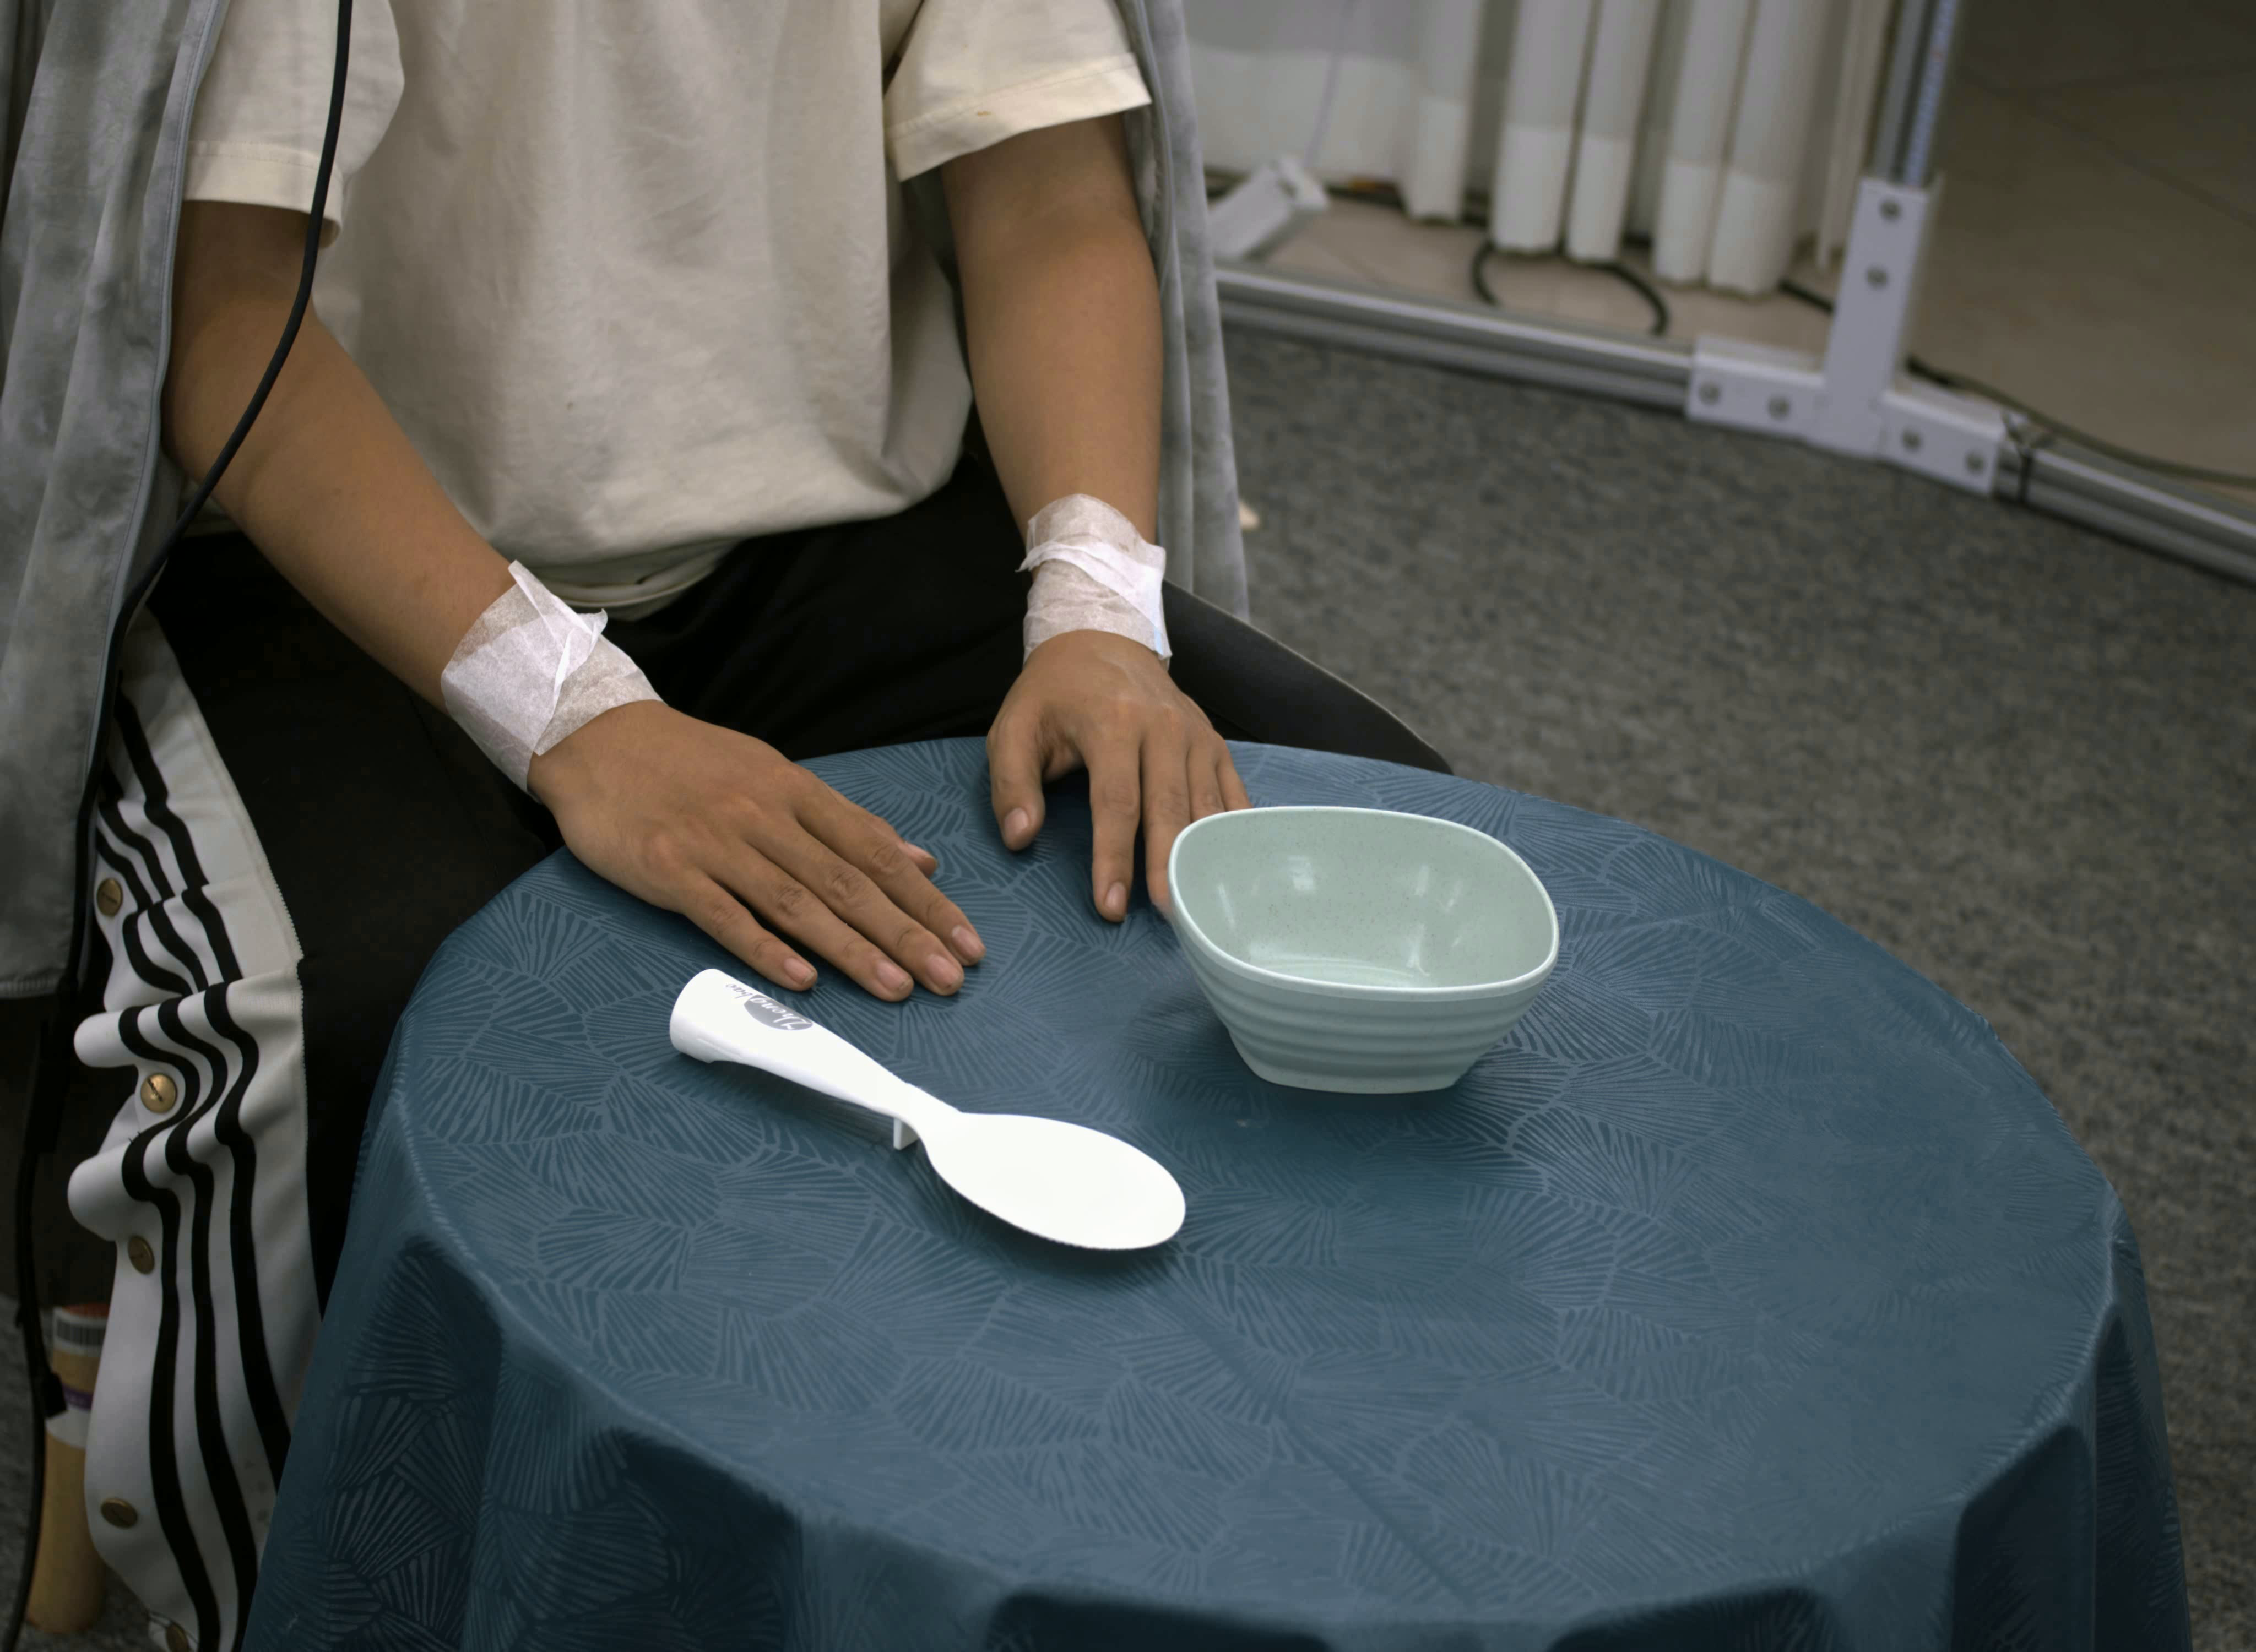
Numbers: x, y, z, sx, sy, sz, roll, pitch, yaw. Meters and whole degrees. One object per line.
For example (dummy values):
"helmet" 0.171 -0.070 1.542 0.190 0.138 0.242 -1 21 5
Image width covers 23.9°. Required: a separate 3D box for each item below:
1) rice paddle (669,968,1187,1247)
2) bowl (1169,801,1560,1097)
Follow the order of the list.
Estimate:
"rice paddle" -0.068 0.097 1.808 0.206 0.029 0.068 23 33 29
"bowl" 0.081 0.050 1.906 0.151 0.058 0.152 5 29 -3
